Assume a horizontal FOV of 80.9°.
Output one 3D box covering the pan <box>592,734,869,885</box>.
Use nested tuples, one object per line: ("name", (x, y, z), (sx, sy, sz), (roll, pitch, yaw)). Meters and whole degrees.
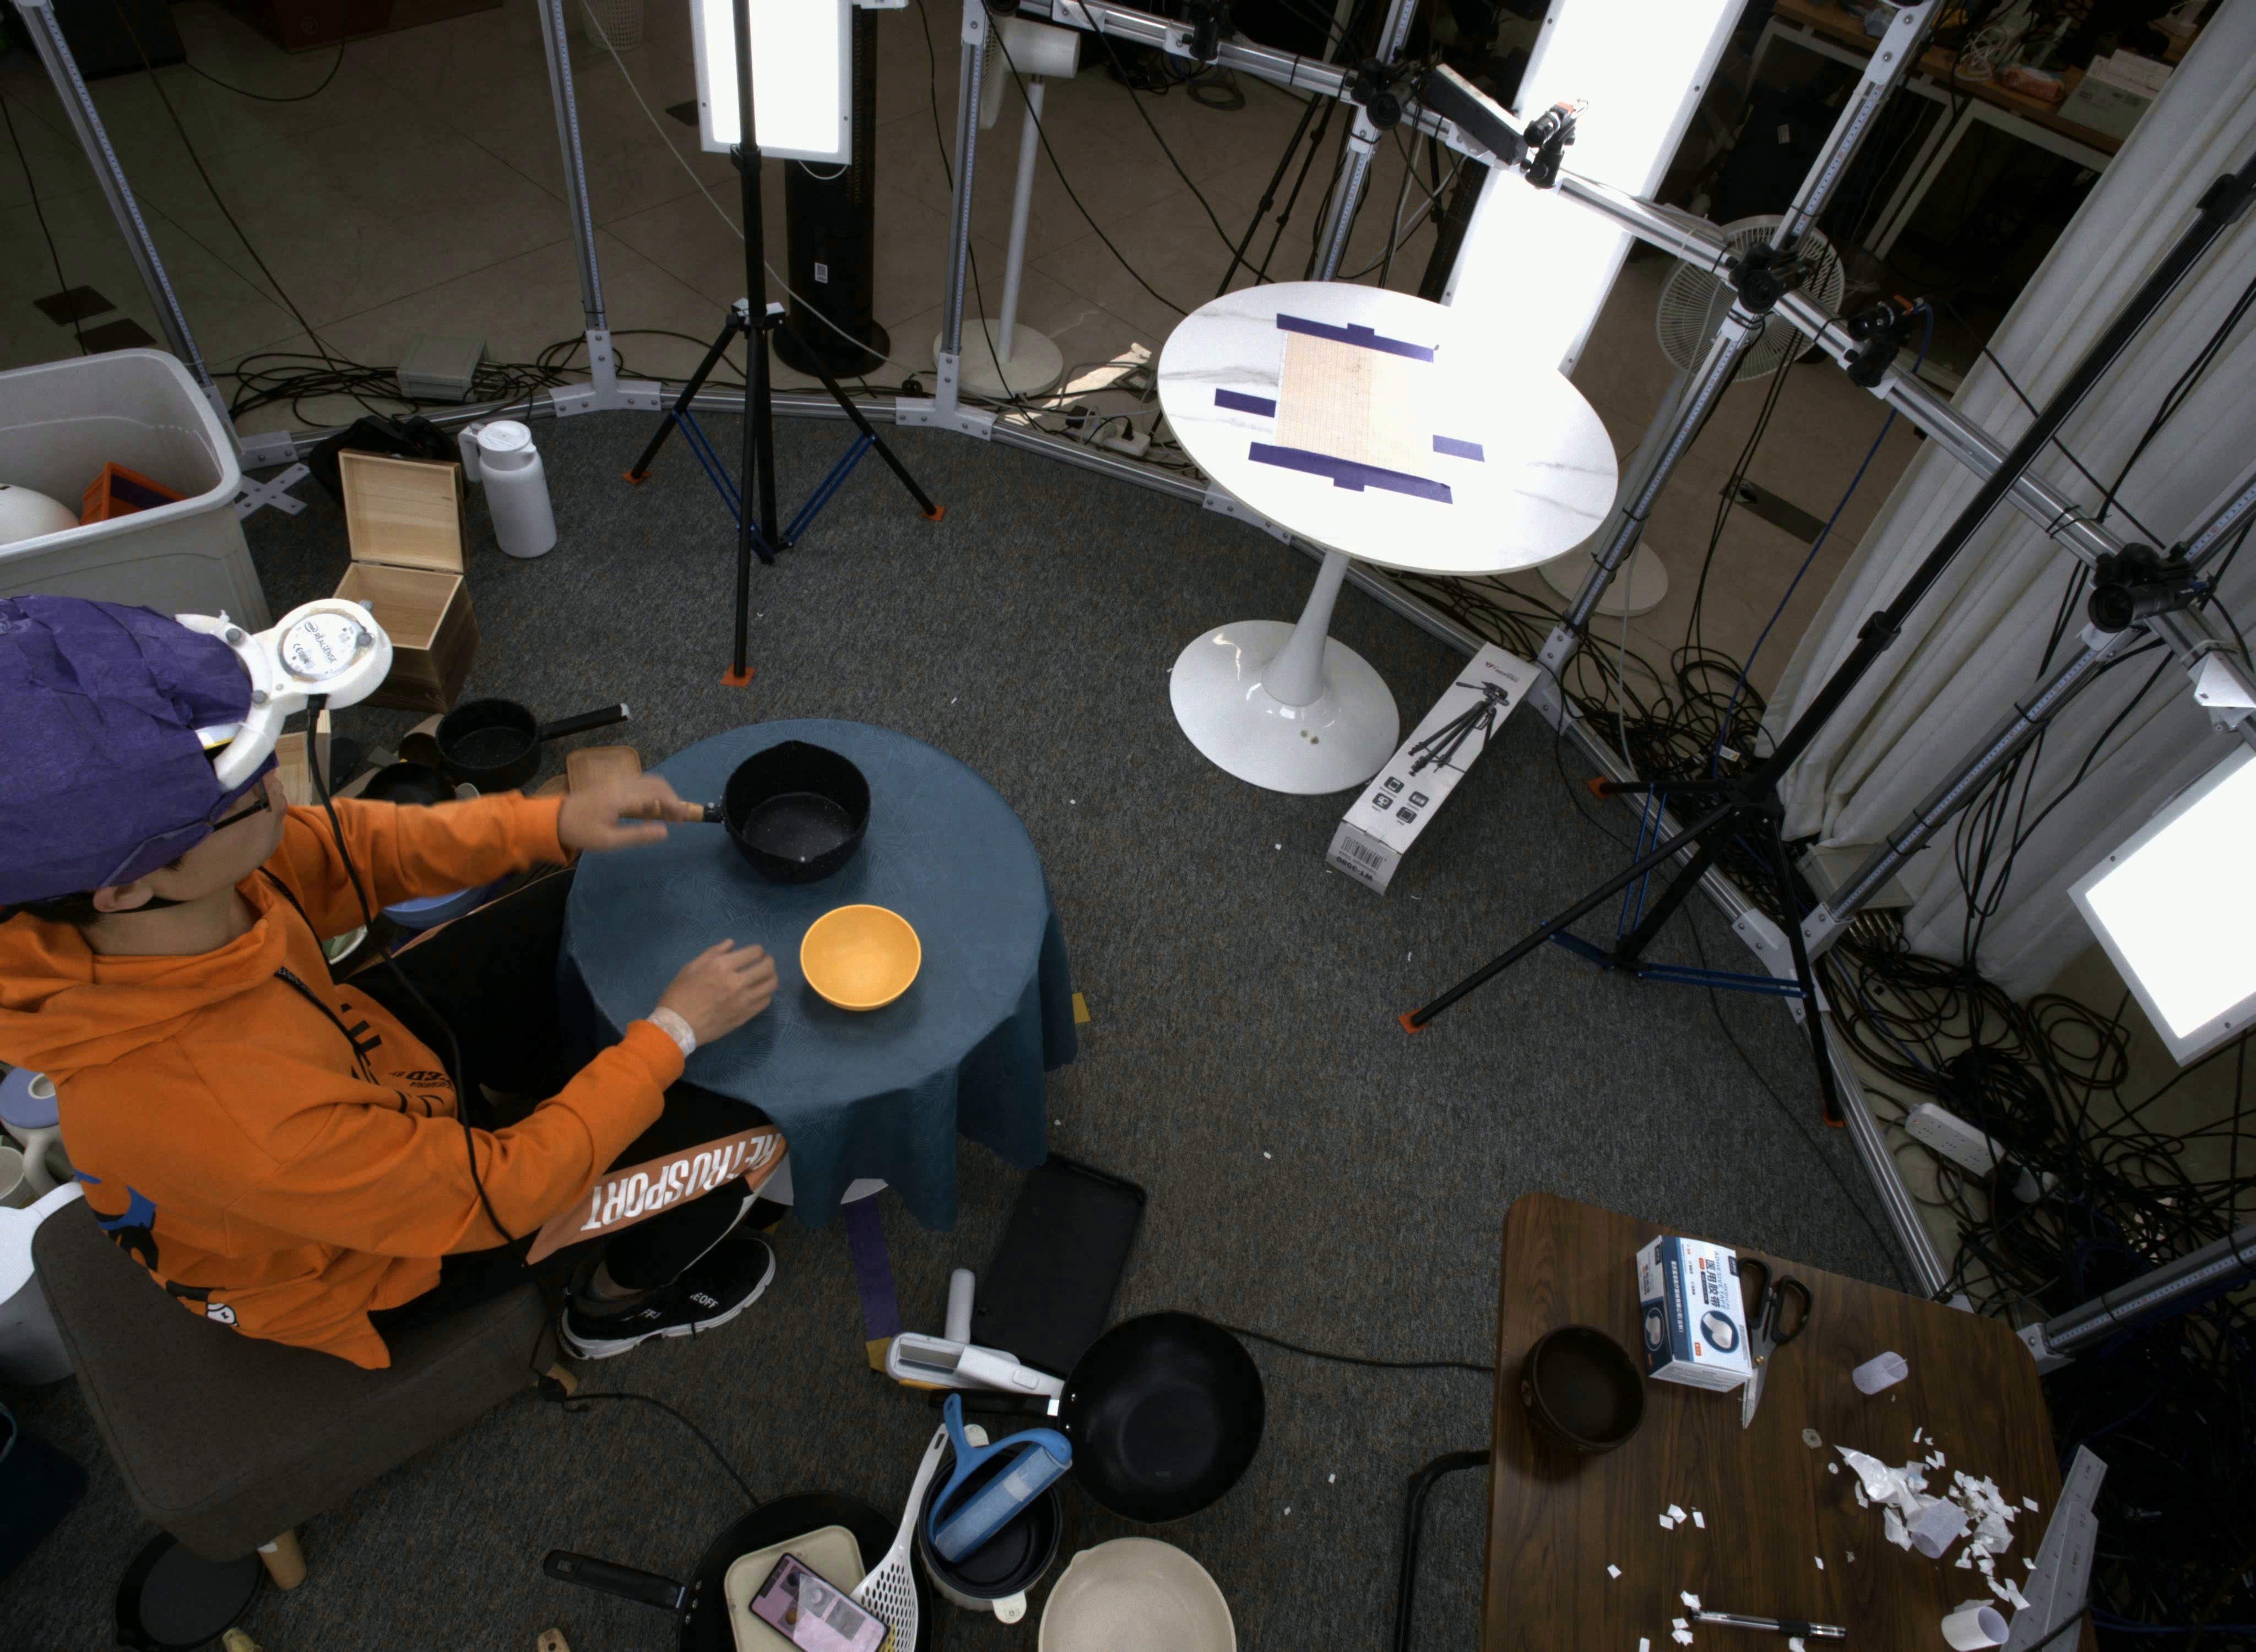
("pan", (-0.500, -0.012, 1.632), (0.344, 0.110, 0.203), (-5, 56, -20))

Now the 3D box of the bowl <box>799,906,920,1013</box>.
("bowl", (-0.324, 0.170, 1.575), (0.145, 0.061, 0.142), (8, 51, -8))
